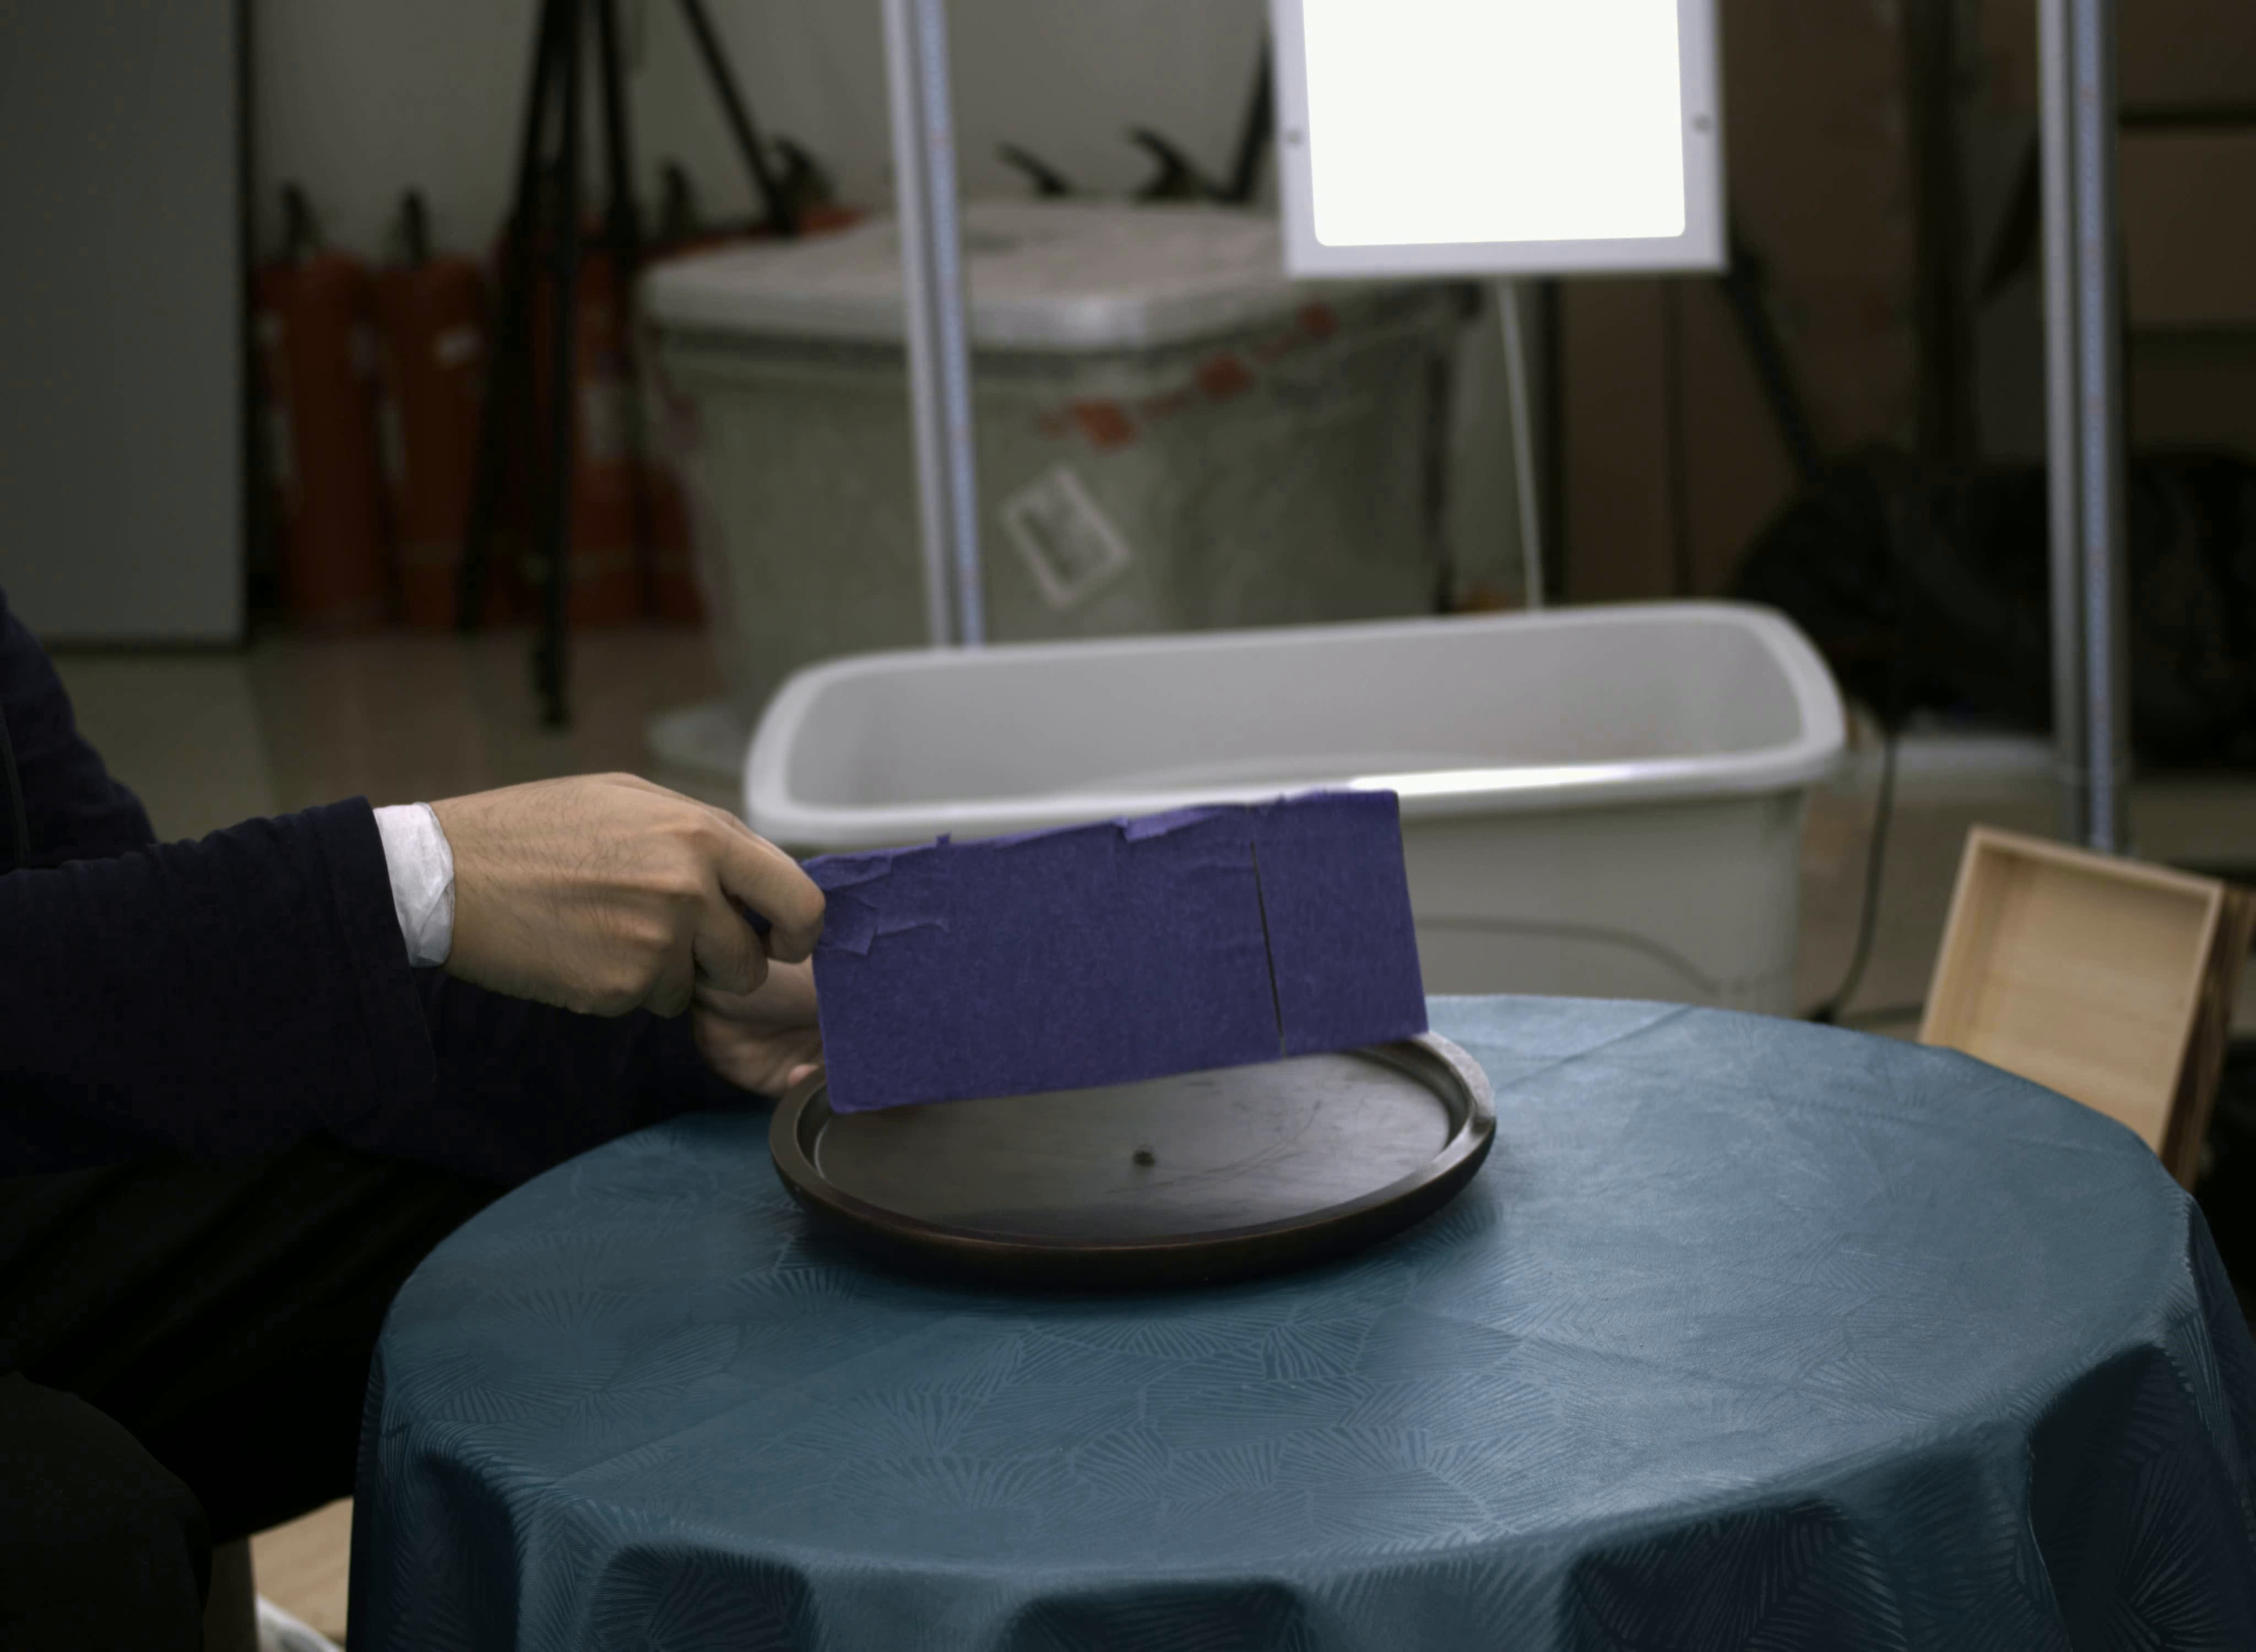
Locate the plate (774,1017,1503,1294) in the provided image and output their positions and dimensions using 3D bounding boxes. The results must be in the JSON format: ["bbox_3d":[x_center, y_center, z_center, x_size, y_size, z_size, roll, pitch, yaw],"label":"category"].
[{"bbox_3d":[0.004,0.107,1.898,0.254,0.029,0.254,-3,18,-1],"label":"plate"}]

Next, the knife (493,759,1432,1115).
[{"bbox_3d":[-0.054,0.048,1.866,0.314,0.104,0.032,-7,8,1],"label":"knife"}]
